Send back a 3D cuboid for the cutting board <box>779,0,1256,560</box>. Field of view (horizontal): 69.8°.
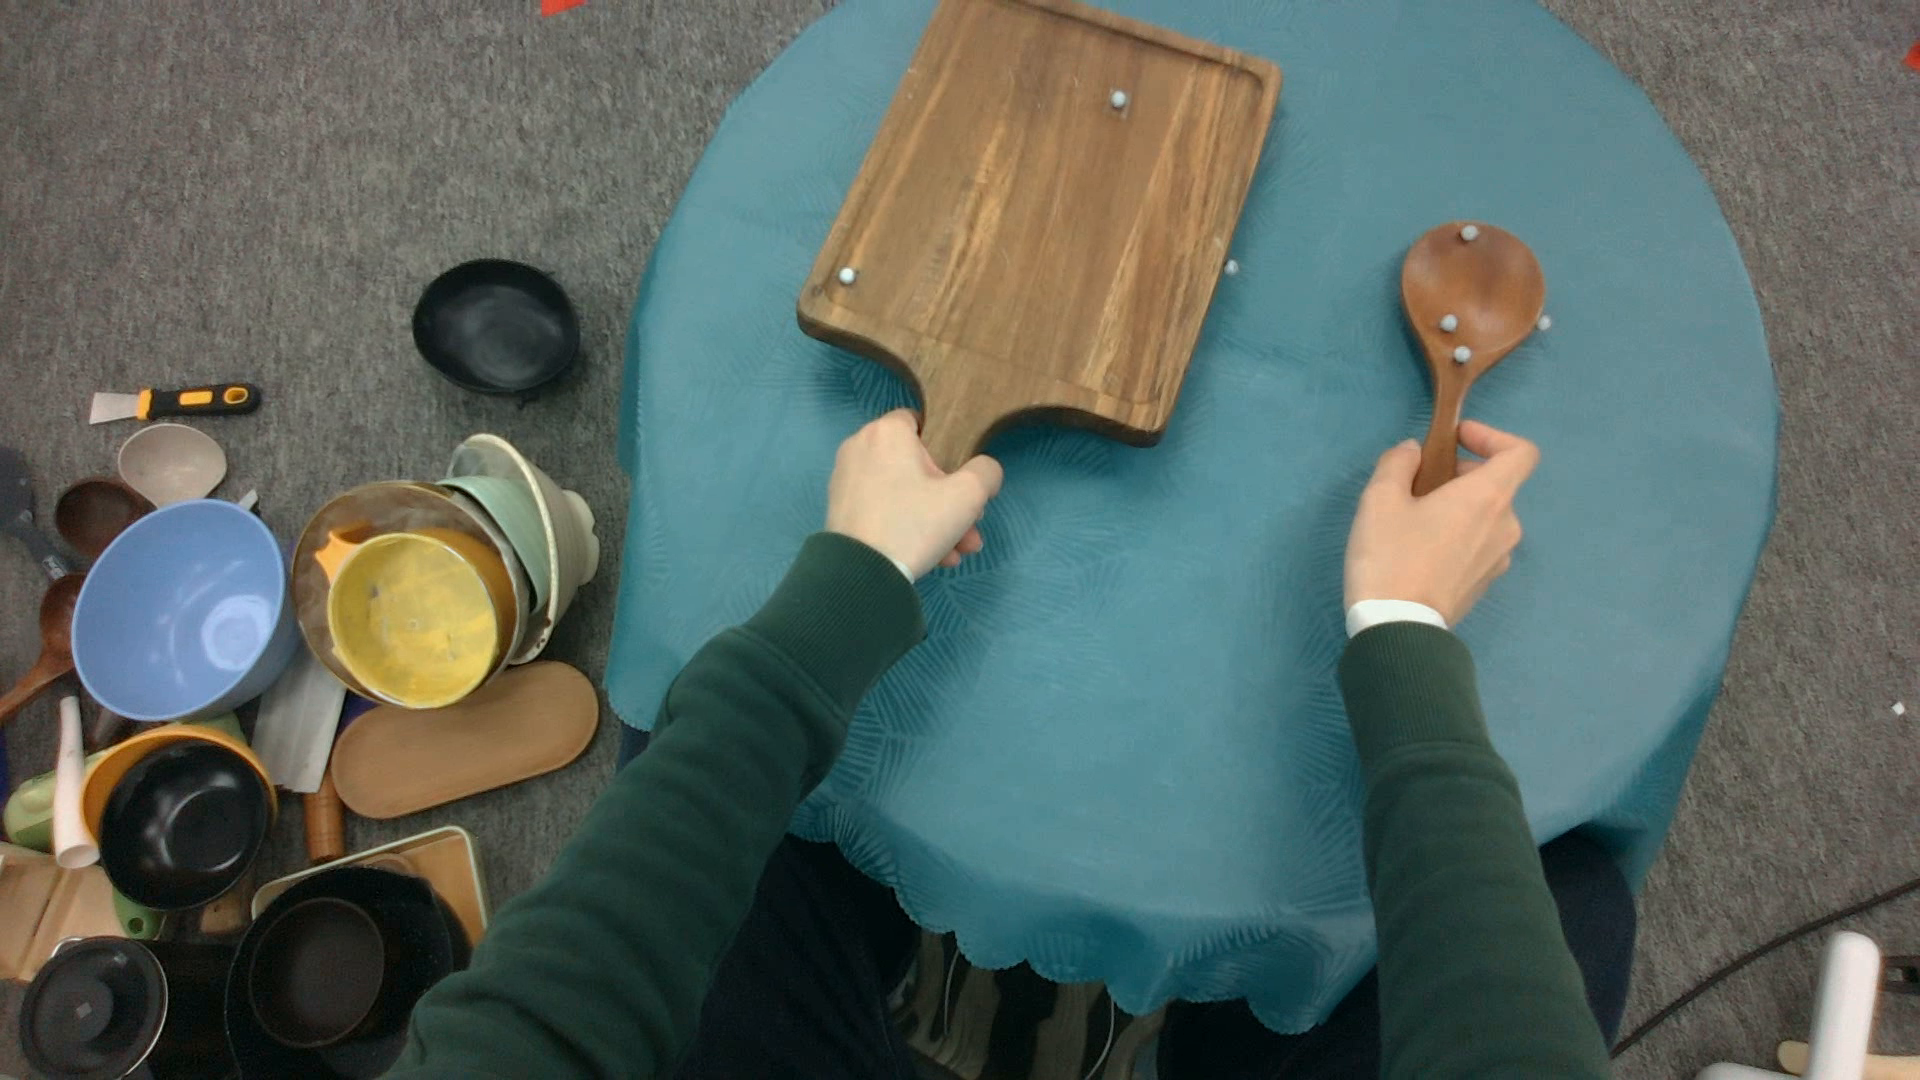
[{"bbox_3d":[0.022,-0.147,0.715,0.201,0.023,0.353,19,66,4],"label":"cutting board"}]

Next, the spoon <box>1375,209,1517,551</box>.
[{"bbox_3d":[0.238,-0.086,0.700,0.075,0.017,0.217,17,61,5],"label":"spoon"}]
